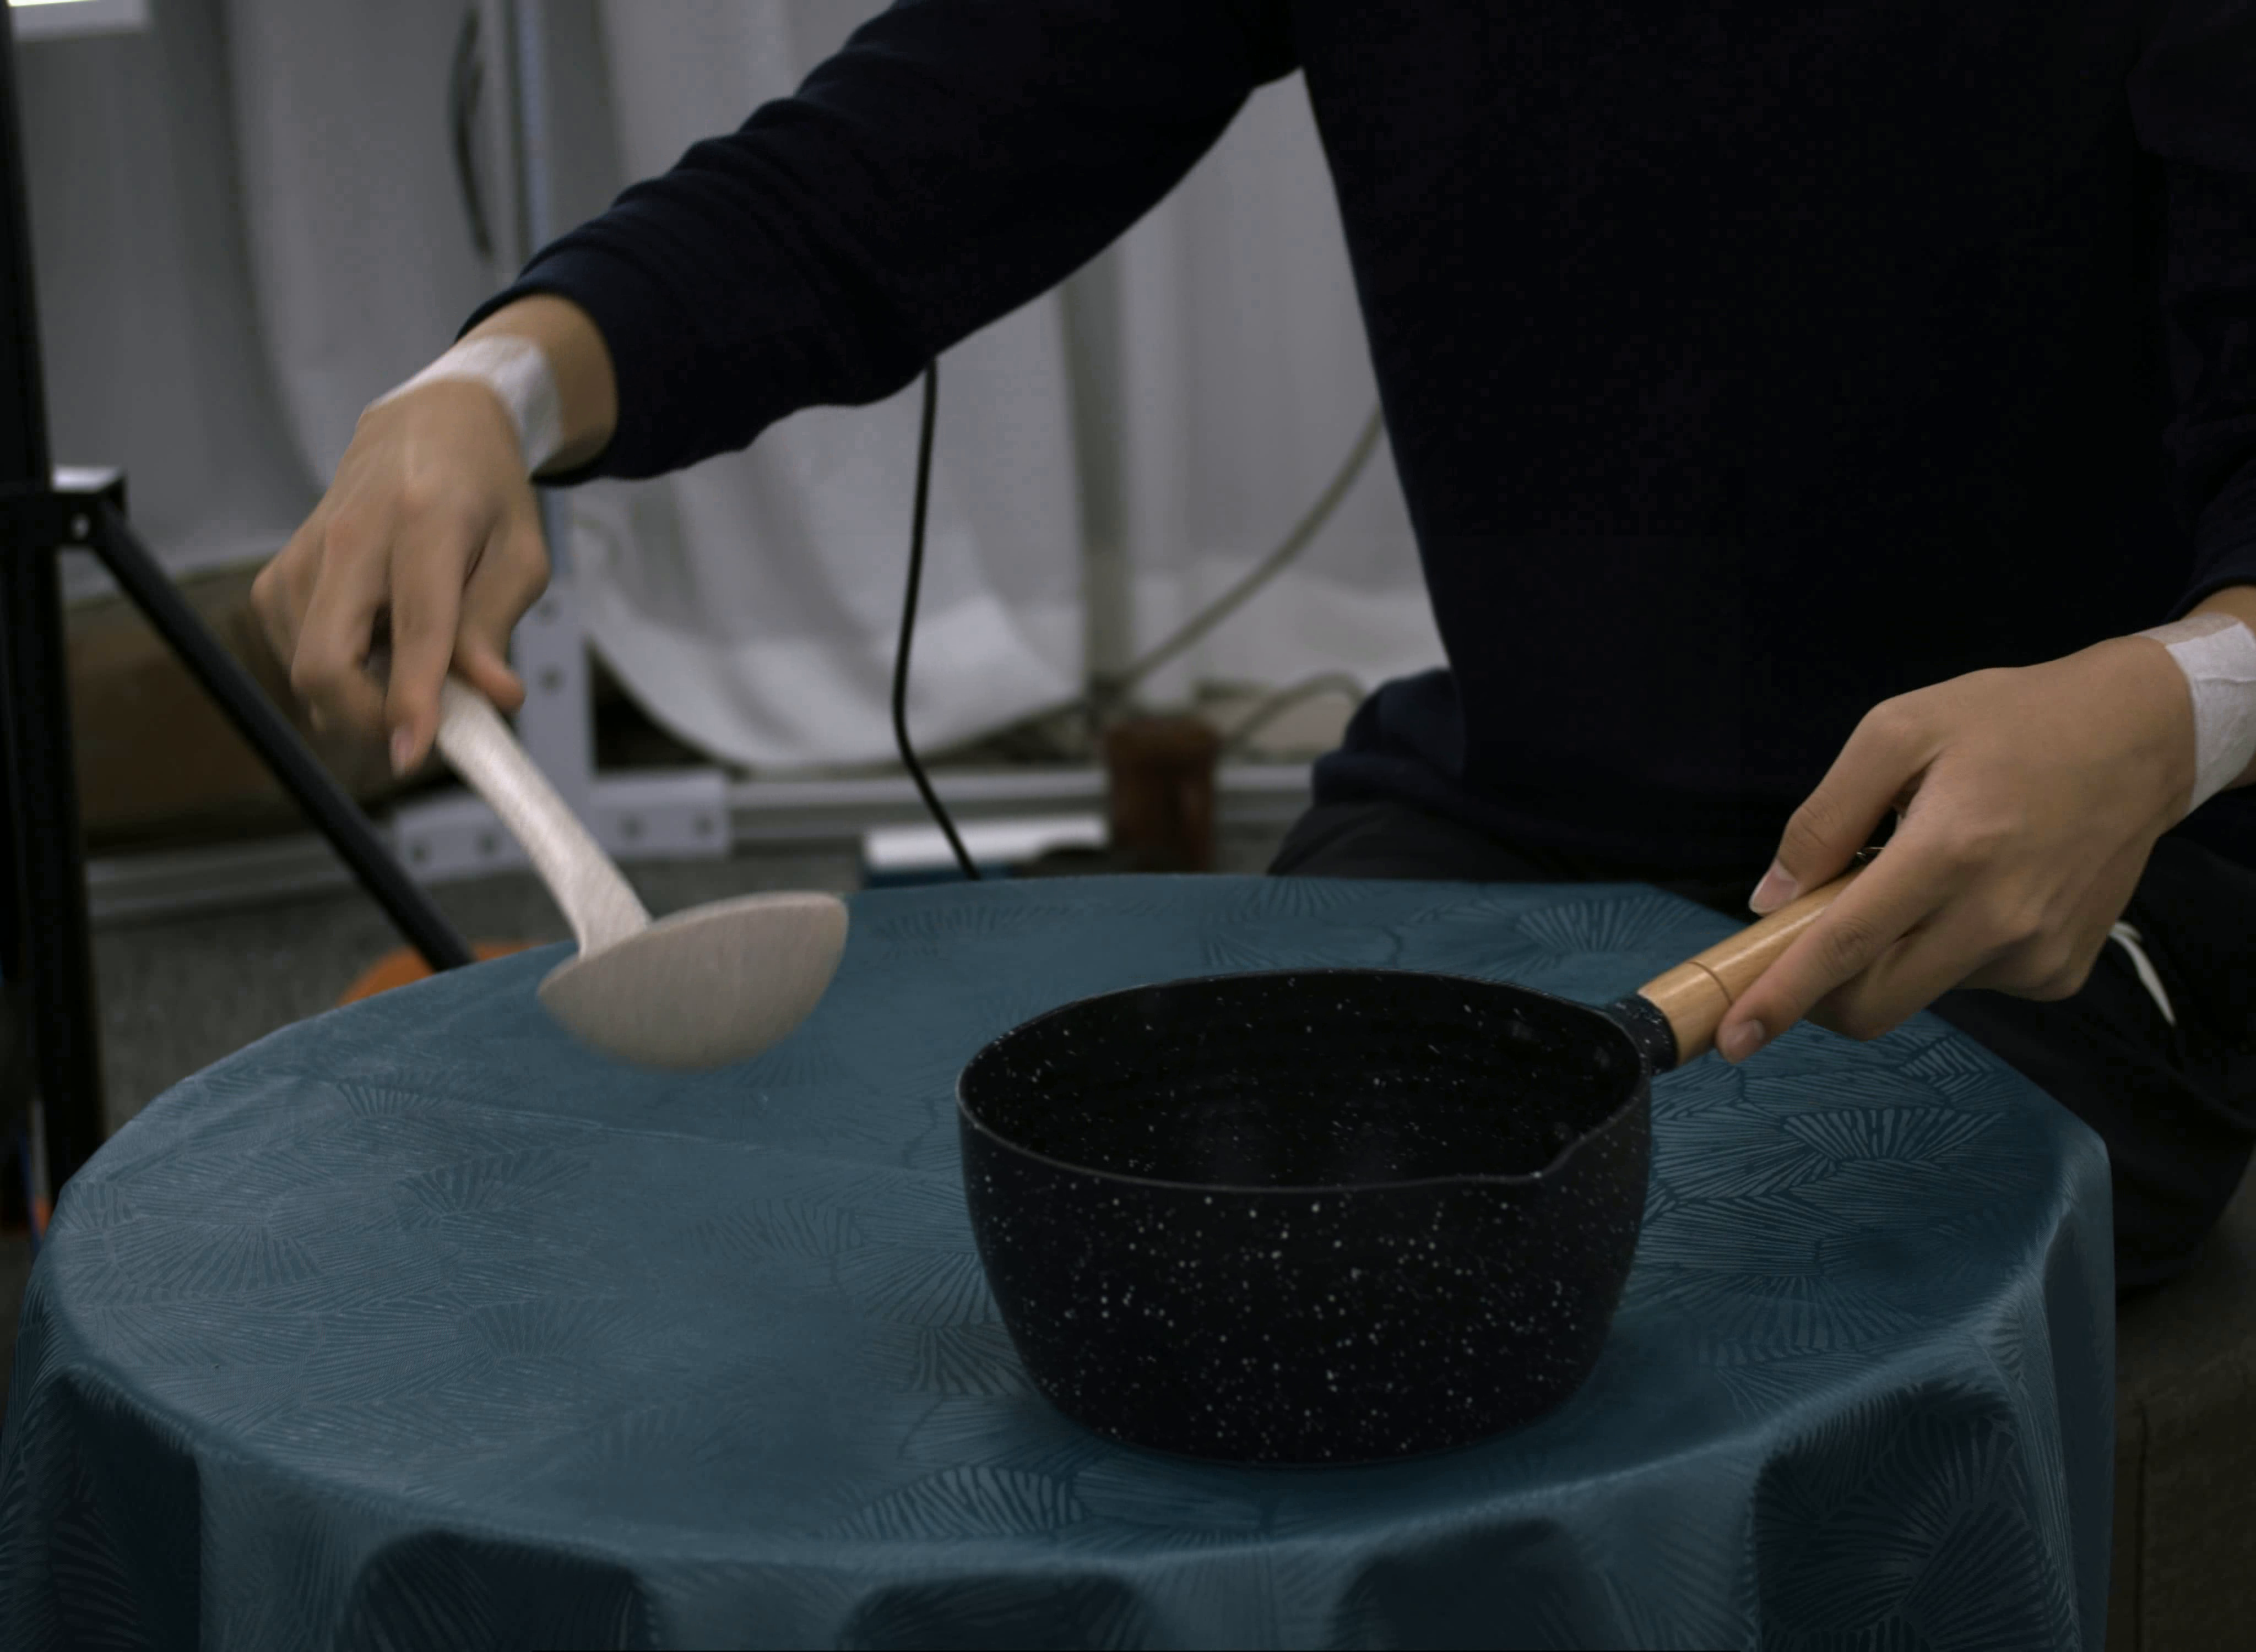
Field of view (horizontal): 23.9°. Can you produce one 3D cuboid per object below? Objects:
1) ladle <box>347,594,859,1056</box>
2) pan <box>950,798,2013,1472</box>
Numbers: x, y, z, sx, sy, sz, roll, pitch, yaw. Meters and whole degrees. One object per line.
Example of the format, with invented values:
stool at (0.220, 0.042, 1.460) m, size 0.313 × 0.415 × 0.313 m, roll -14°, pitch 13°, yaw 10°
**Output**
ladle at (-0.165, -0.025, 1.512) m, size 0.087 × 0.069 × 0.281 m, roll -12°, pitch 36°, yaw -25°
pan at (0.110, 0.078, 1.445) m, size 0.335 × 0.108 × 0.212 m, roll -15°, pitch 19°, yaw -32°
